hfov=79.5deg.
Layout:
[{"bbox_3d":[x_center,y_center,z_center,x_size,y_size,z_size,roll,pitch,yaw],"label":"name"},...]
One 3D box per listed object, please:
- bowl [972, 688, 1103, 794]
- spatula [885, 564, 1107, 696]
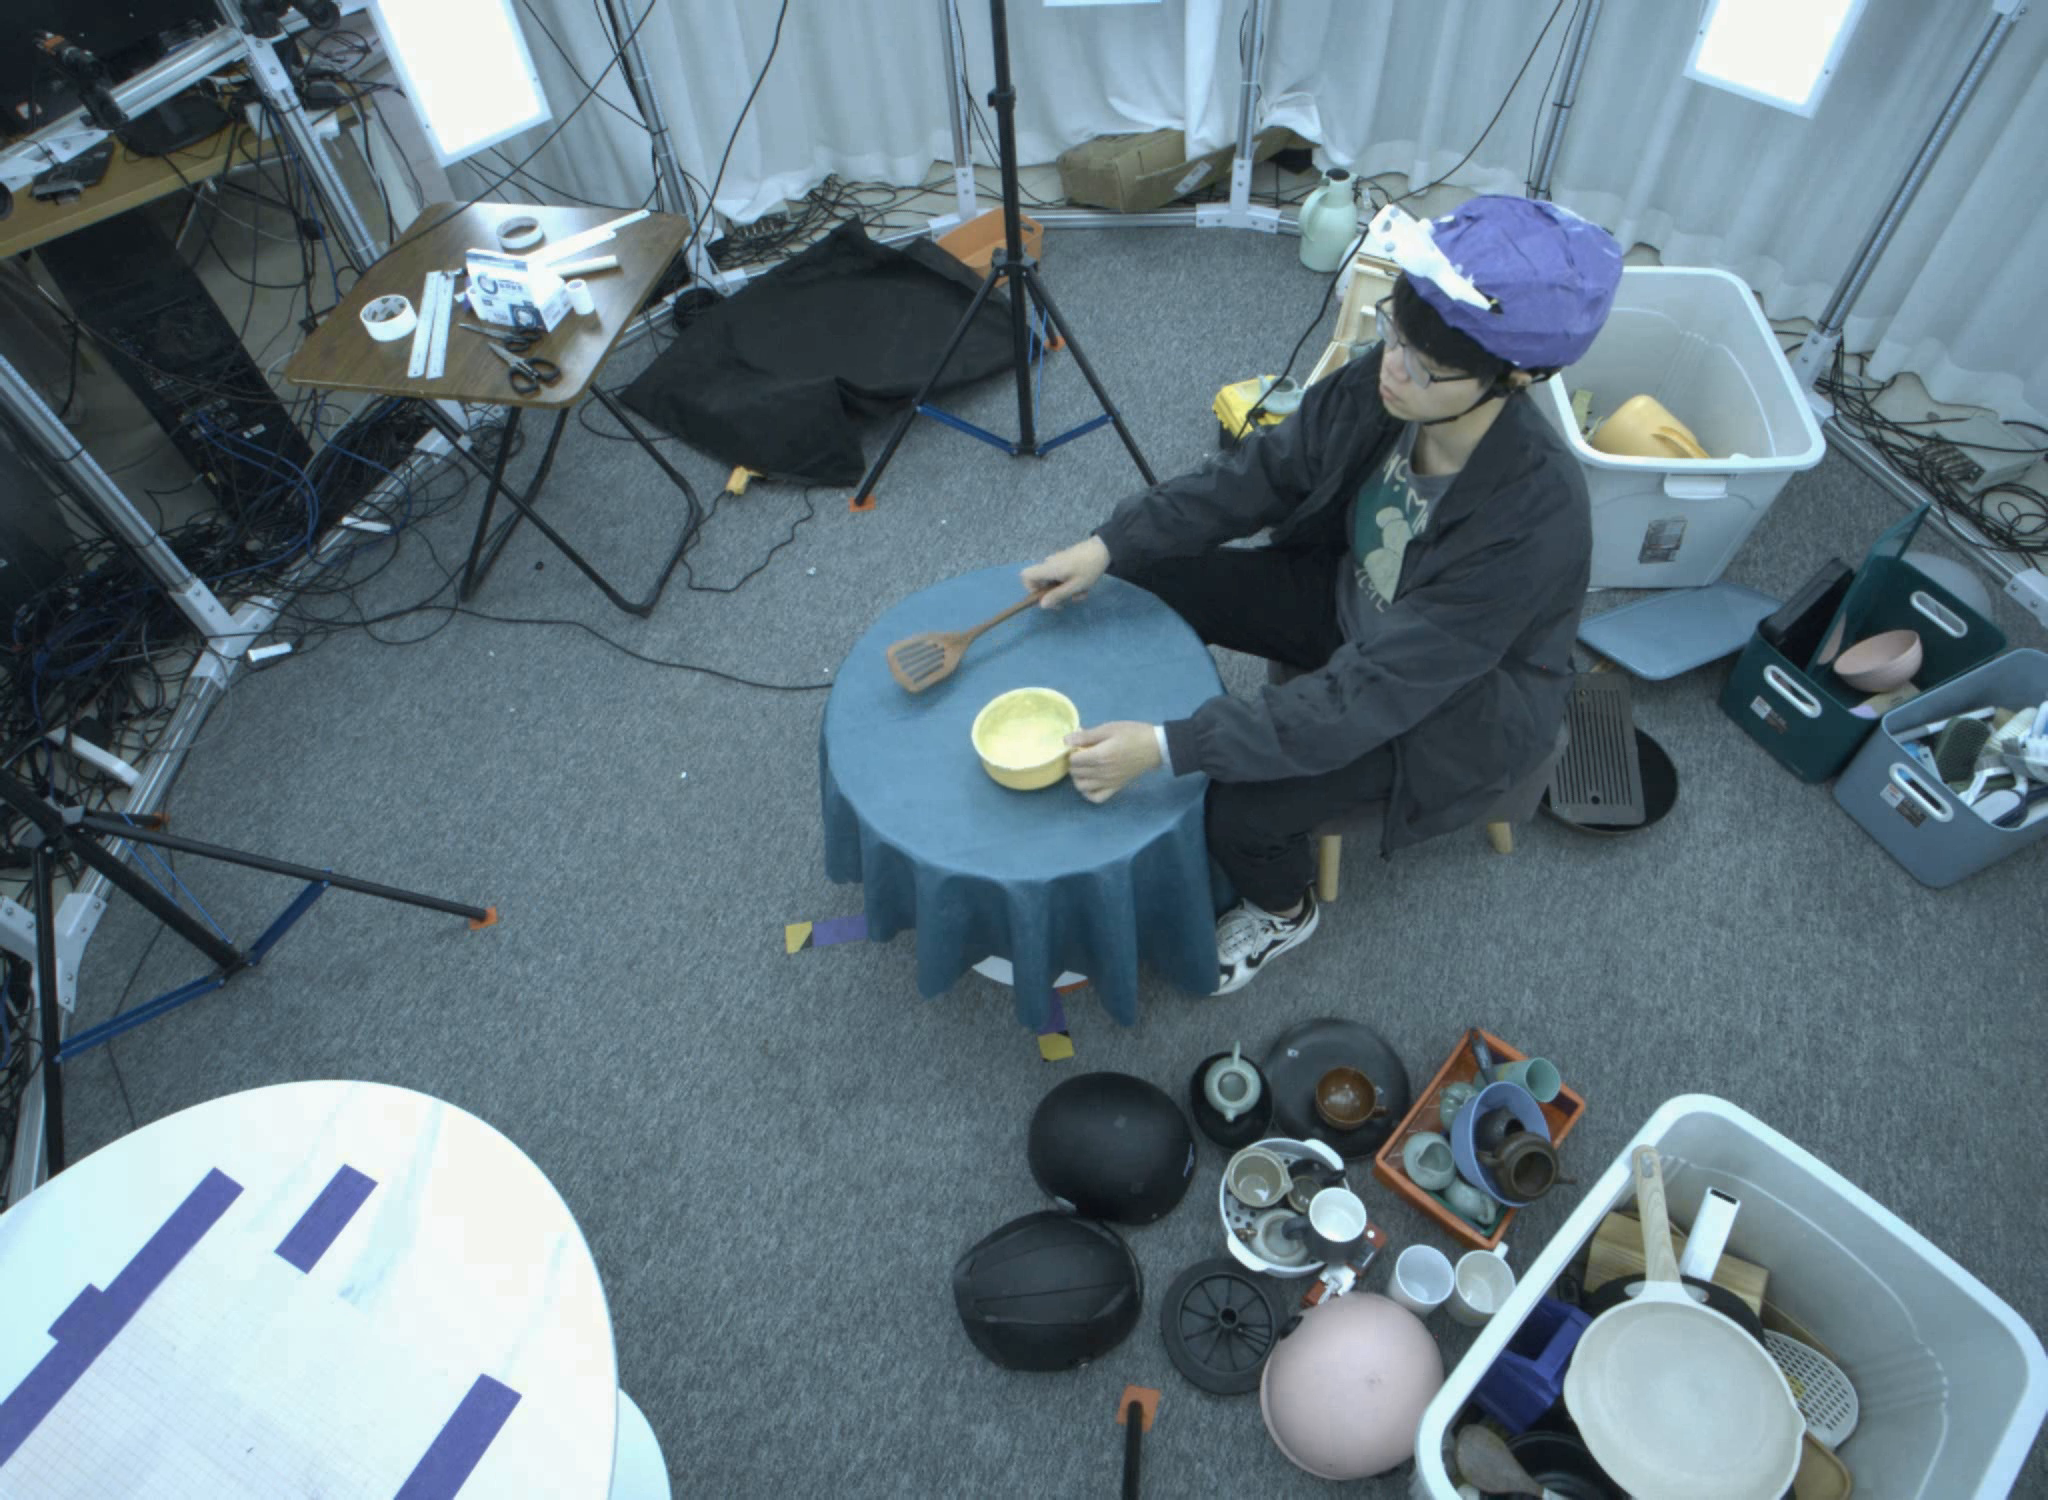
[{"bbox_3d":[0.020,-0.005,1.735,0.177,0.075,0.152,9,53,18],"label":"bowl"},{"bbox_3d":[-0.034,-0.195,1.874,0.390,0.024,0.085,-30,76,-17],"label":"spatula"}]
